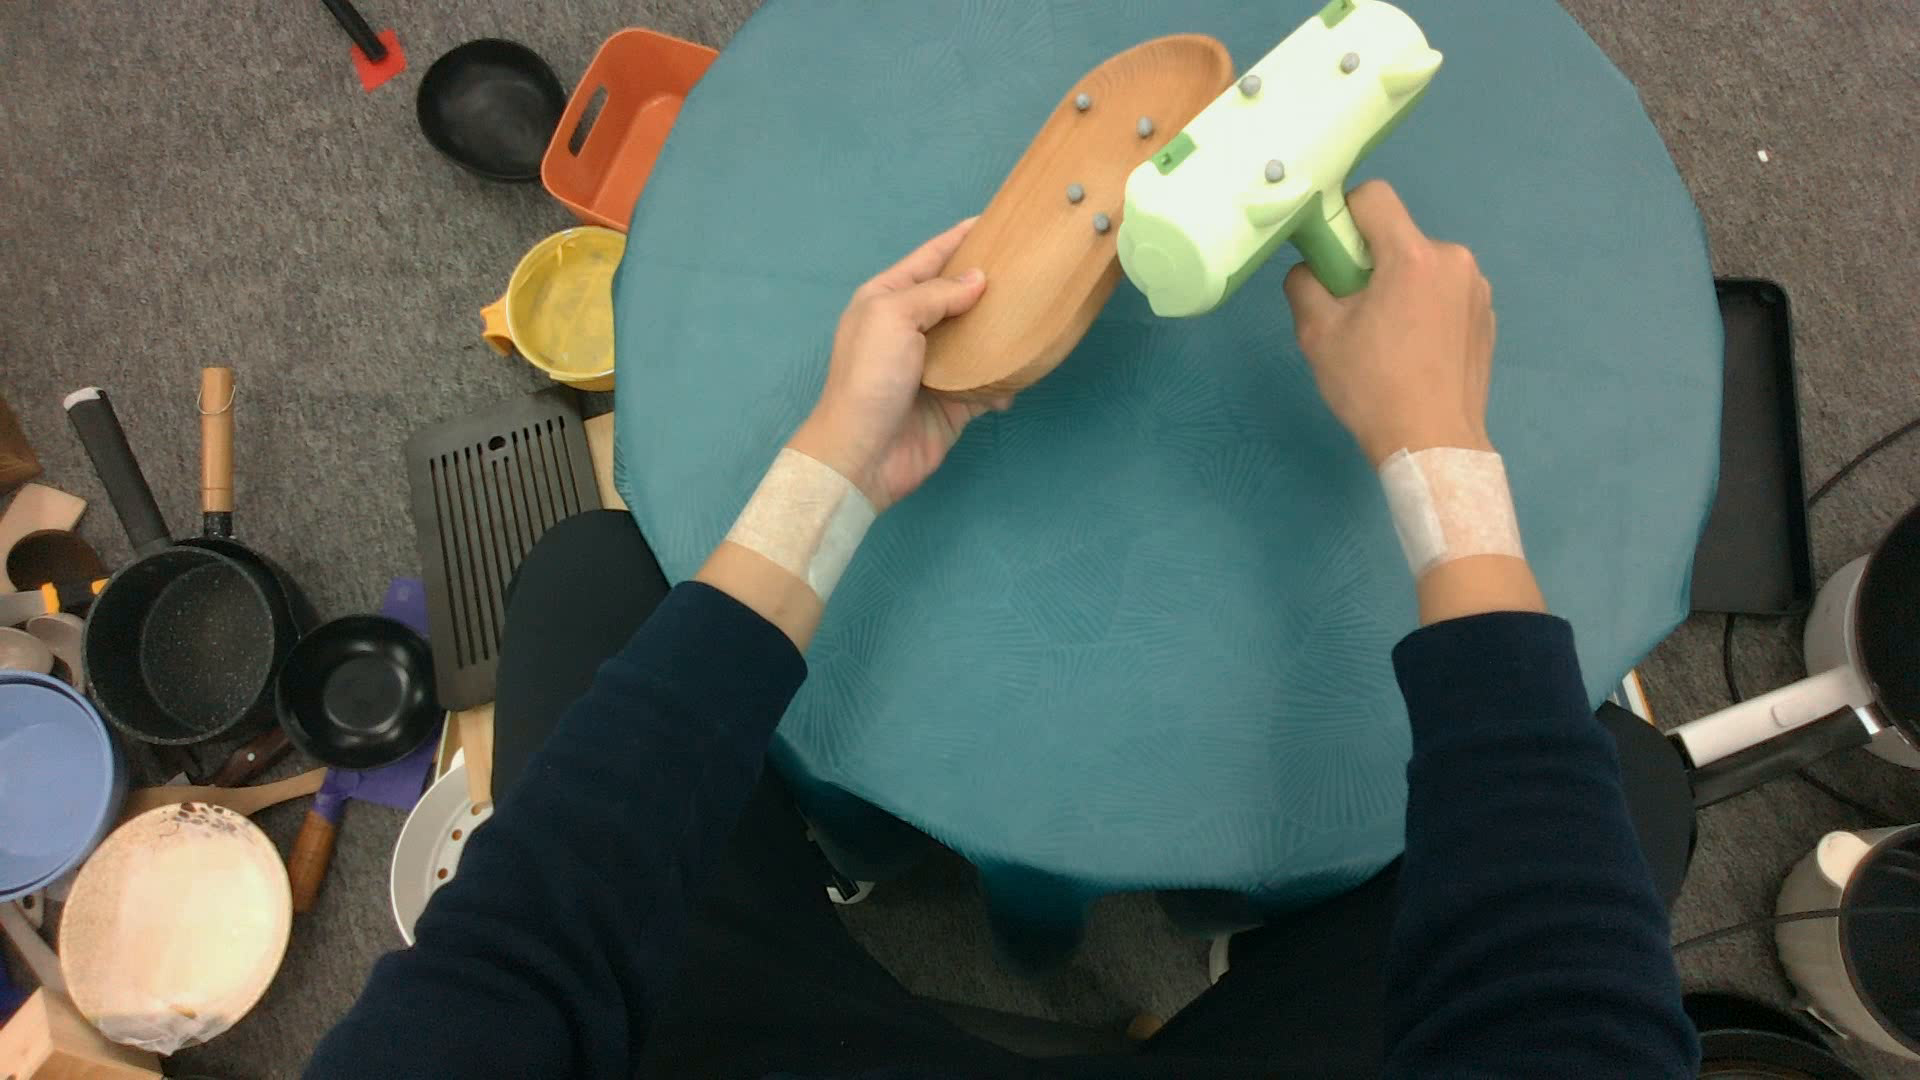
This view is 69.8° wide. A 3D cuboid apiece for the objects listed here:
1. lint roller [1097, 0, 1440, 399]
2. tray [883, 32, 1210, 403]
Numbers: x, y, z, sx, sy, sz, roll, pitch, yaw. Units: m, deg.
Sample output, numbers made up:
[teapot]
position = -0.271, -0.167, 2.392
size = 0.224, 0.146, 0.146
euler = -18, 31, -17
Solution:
[lint roller]
position = 0.172, -0.143, 0.617
size = 0.183, 0.082, 0.199
euler = 46, 60, -6
[tray]
position = 0.043, -0.158, 0.661
size = 0.101, 0.020, 0.232
euler = 14, 66, 44
